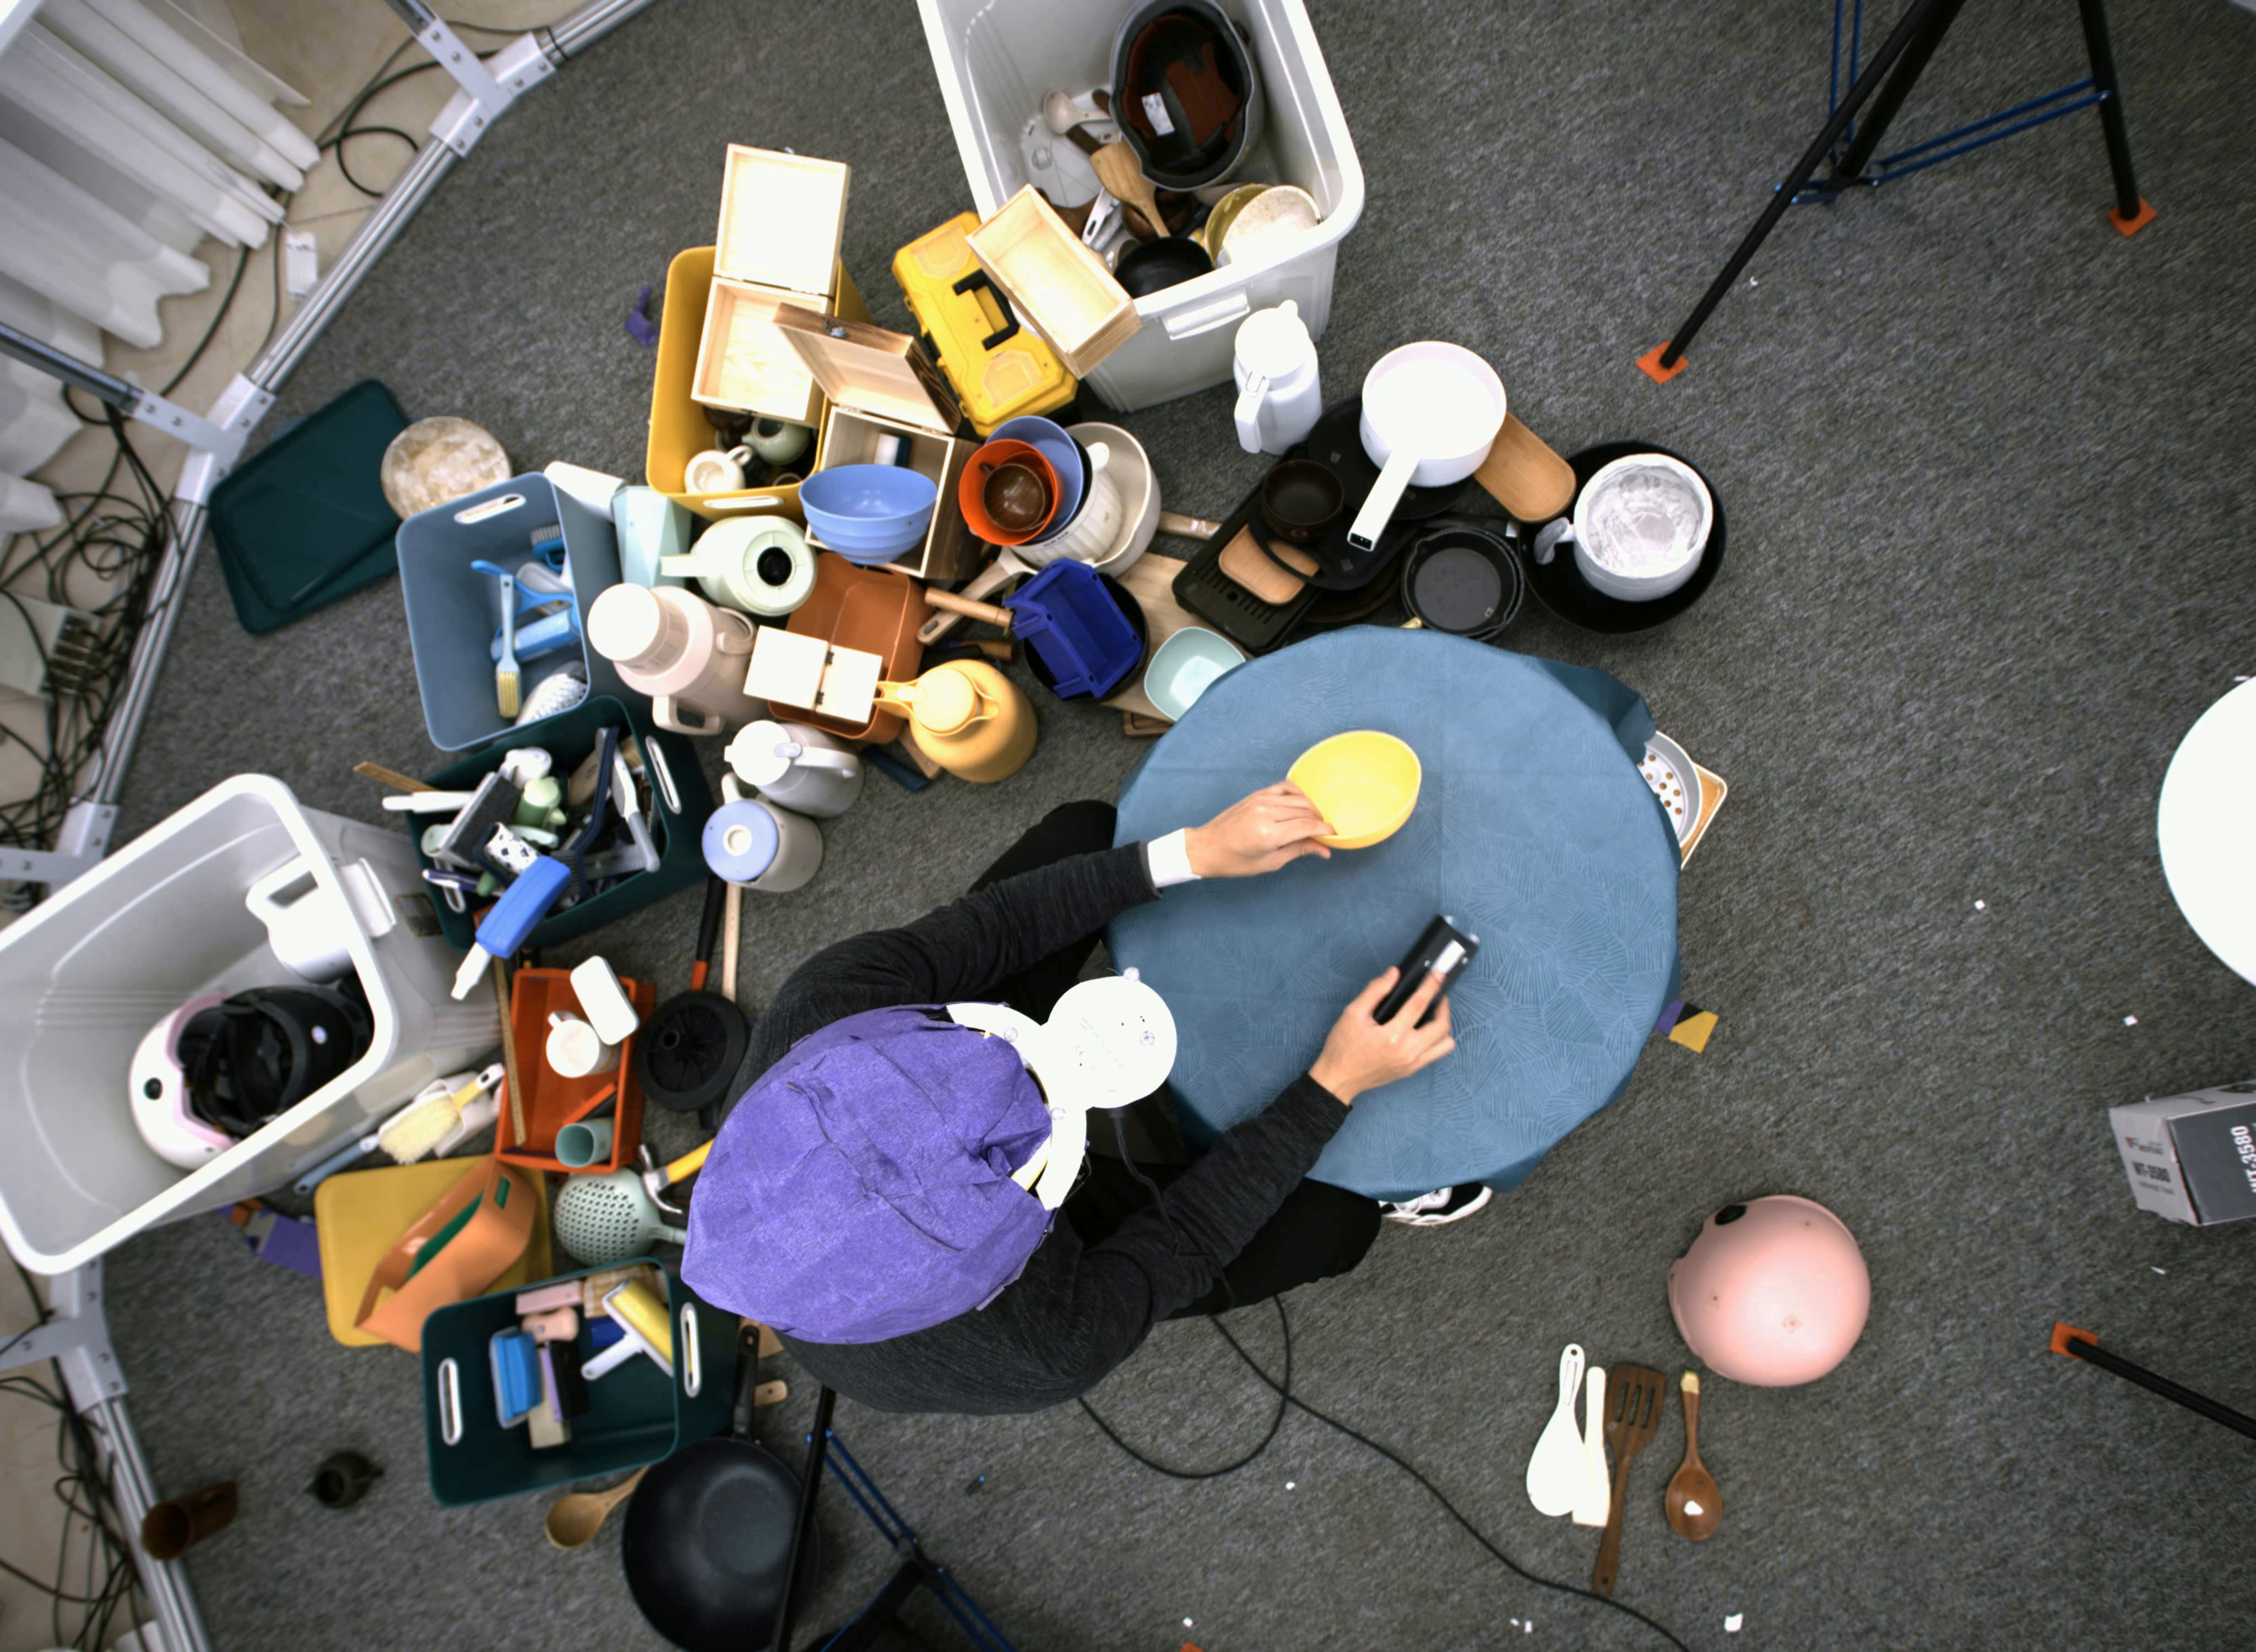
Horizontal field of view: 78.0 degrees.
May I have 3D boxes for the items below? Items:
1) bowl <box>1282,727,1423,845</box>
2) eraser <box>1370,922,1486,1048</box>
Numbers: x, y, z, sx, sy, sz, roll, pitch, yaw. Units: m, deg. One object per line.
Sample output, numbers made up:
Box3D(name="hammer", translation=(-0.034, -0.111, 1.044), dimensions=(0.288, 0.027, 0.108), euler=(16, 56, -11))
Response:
Box3D(name="bowl", translation=(0.236, -0.031, 1.421), dimensions=(0.146, 0.061, 0.141), euler=(-12, 50, 15))
Box3D(name="eraser", translation=(0.304, 0.158, 1.403), dimensions=(0.054, 0.030, 0.126), euler=(37, 93, -15))
